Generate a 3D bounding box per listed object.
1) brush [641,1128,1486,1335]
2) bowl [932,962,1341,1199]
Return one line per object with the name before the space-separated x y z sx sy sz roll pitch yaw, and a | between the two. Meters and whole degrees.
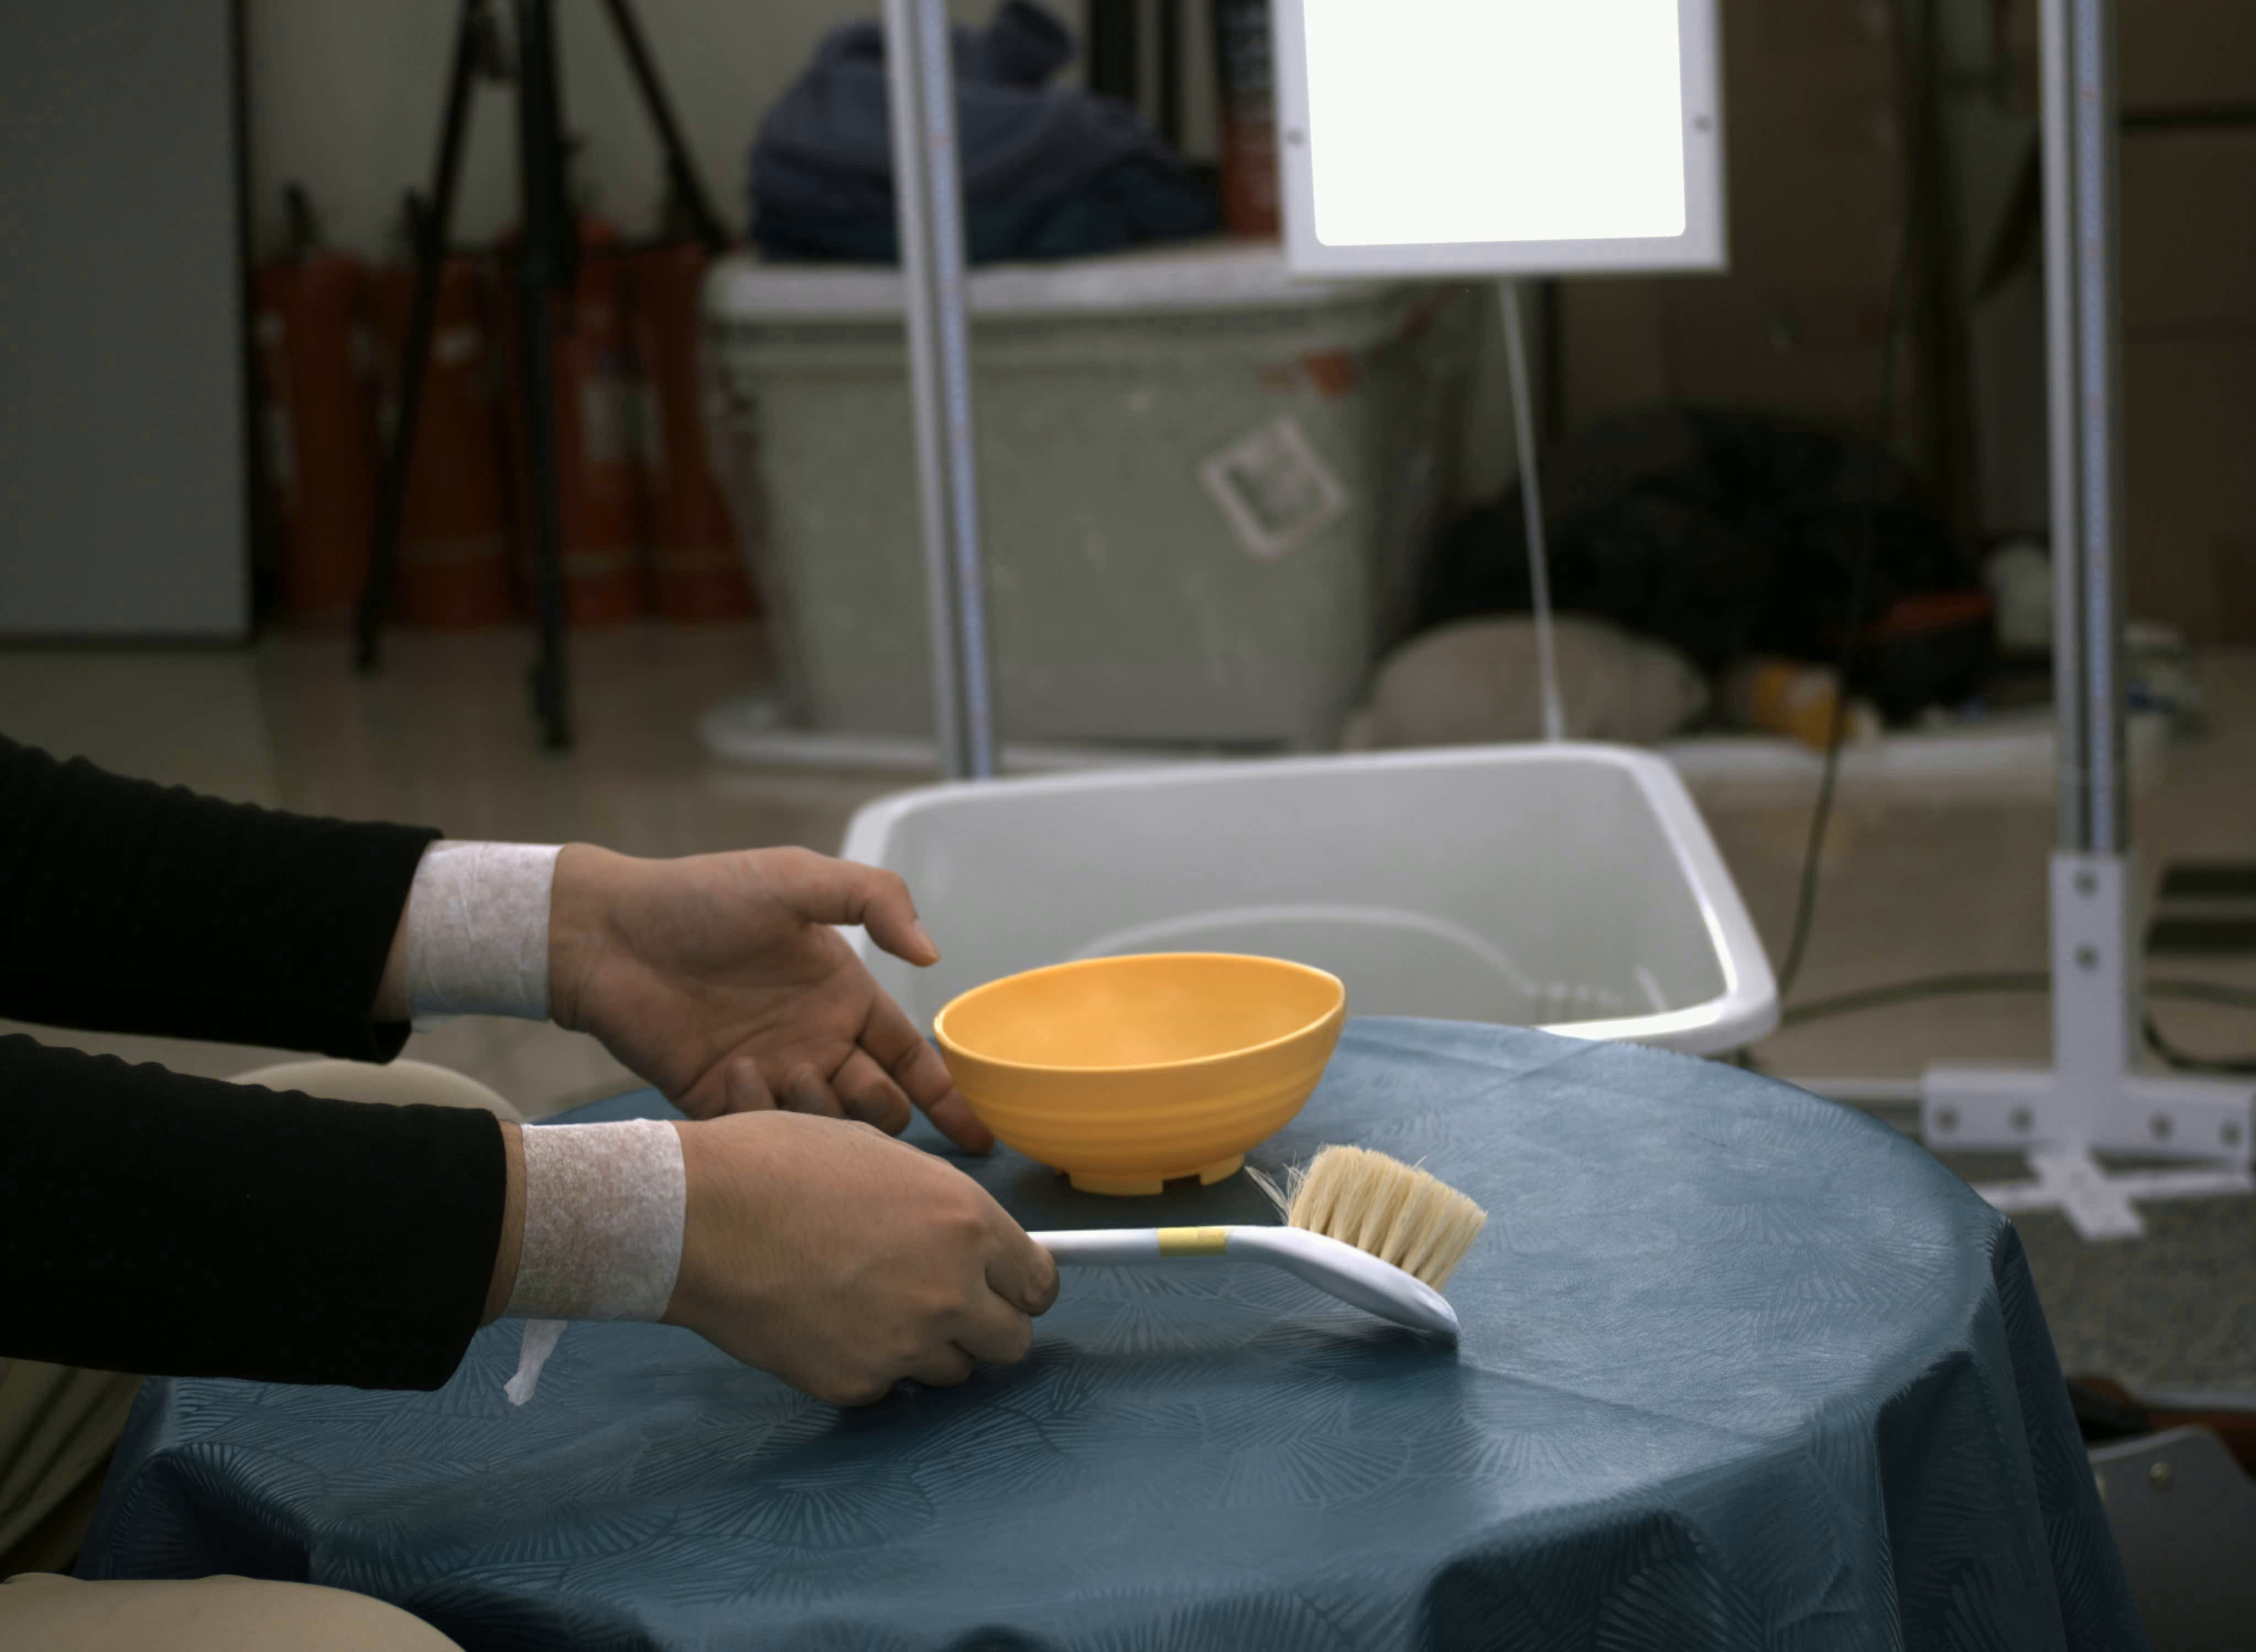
brush | -0.021 0.123 1.731 0.268 0.056 0.068 2 -18 10
bowl | 0.006 0.092 1.915 0.145 0.060 0.145 -6 12 0
